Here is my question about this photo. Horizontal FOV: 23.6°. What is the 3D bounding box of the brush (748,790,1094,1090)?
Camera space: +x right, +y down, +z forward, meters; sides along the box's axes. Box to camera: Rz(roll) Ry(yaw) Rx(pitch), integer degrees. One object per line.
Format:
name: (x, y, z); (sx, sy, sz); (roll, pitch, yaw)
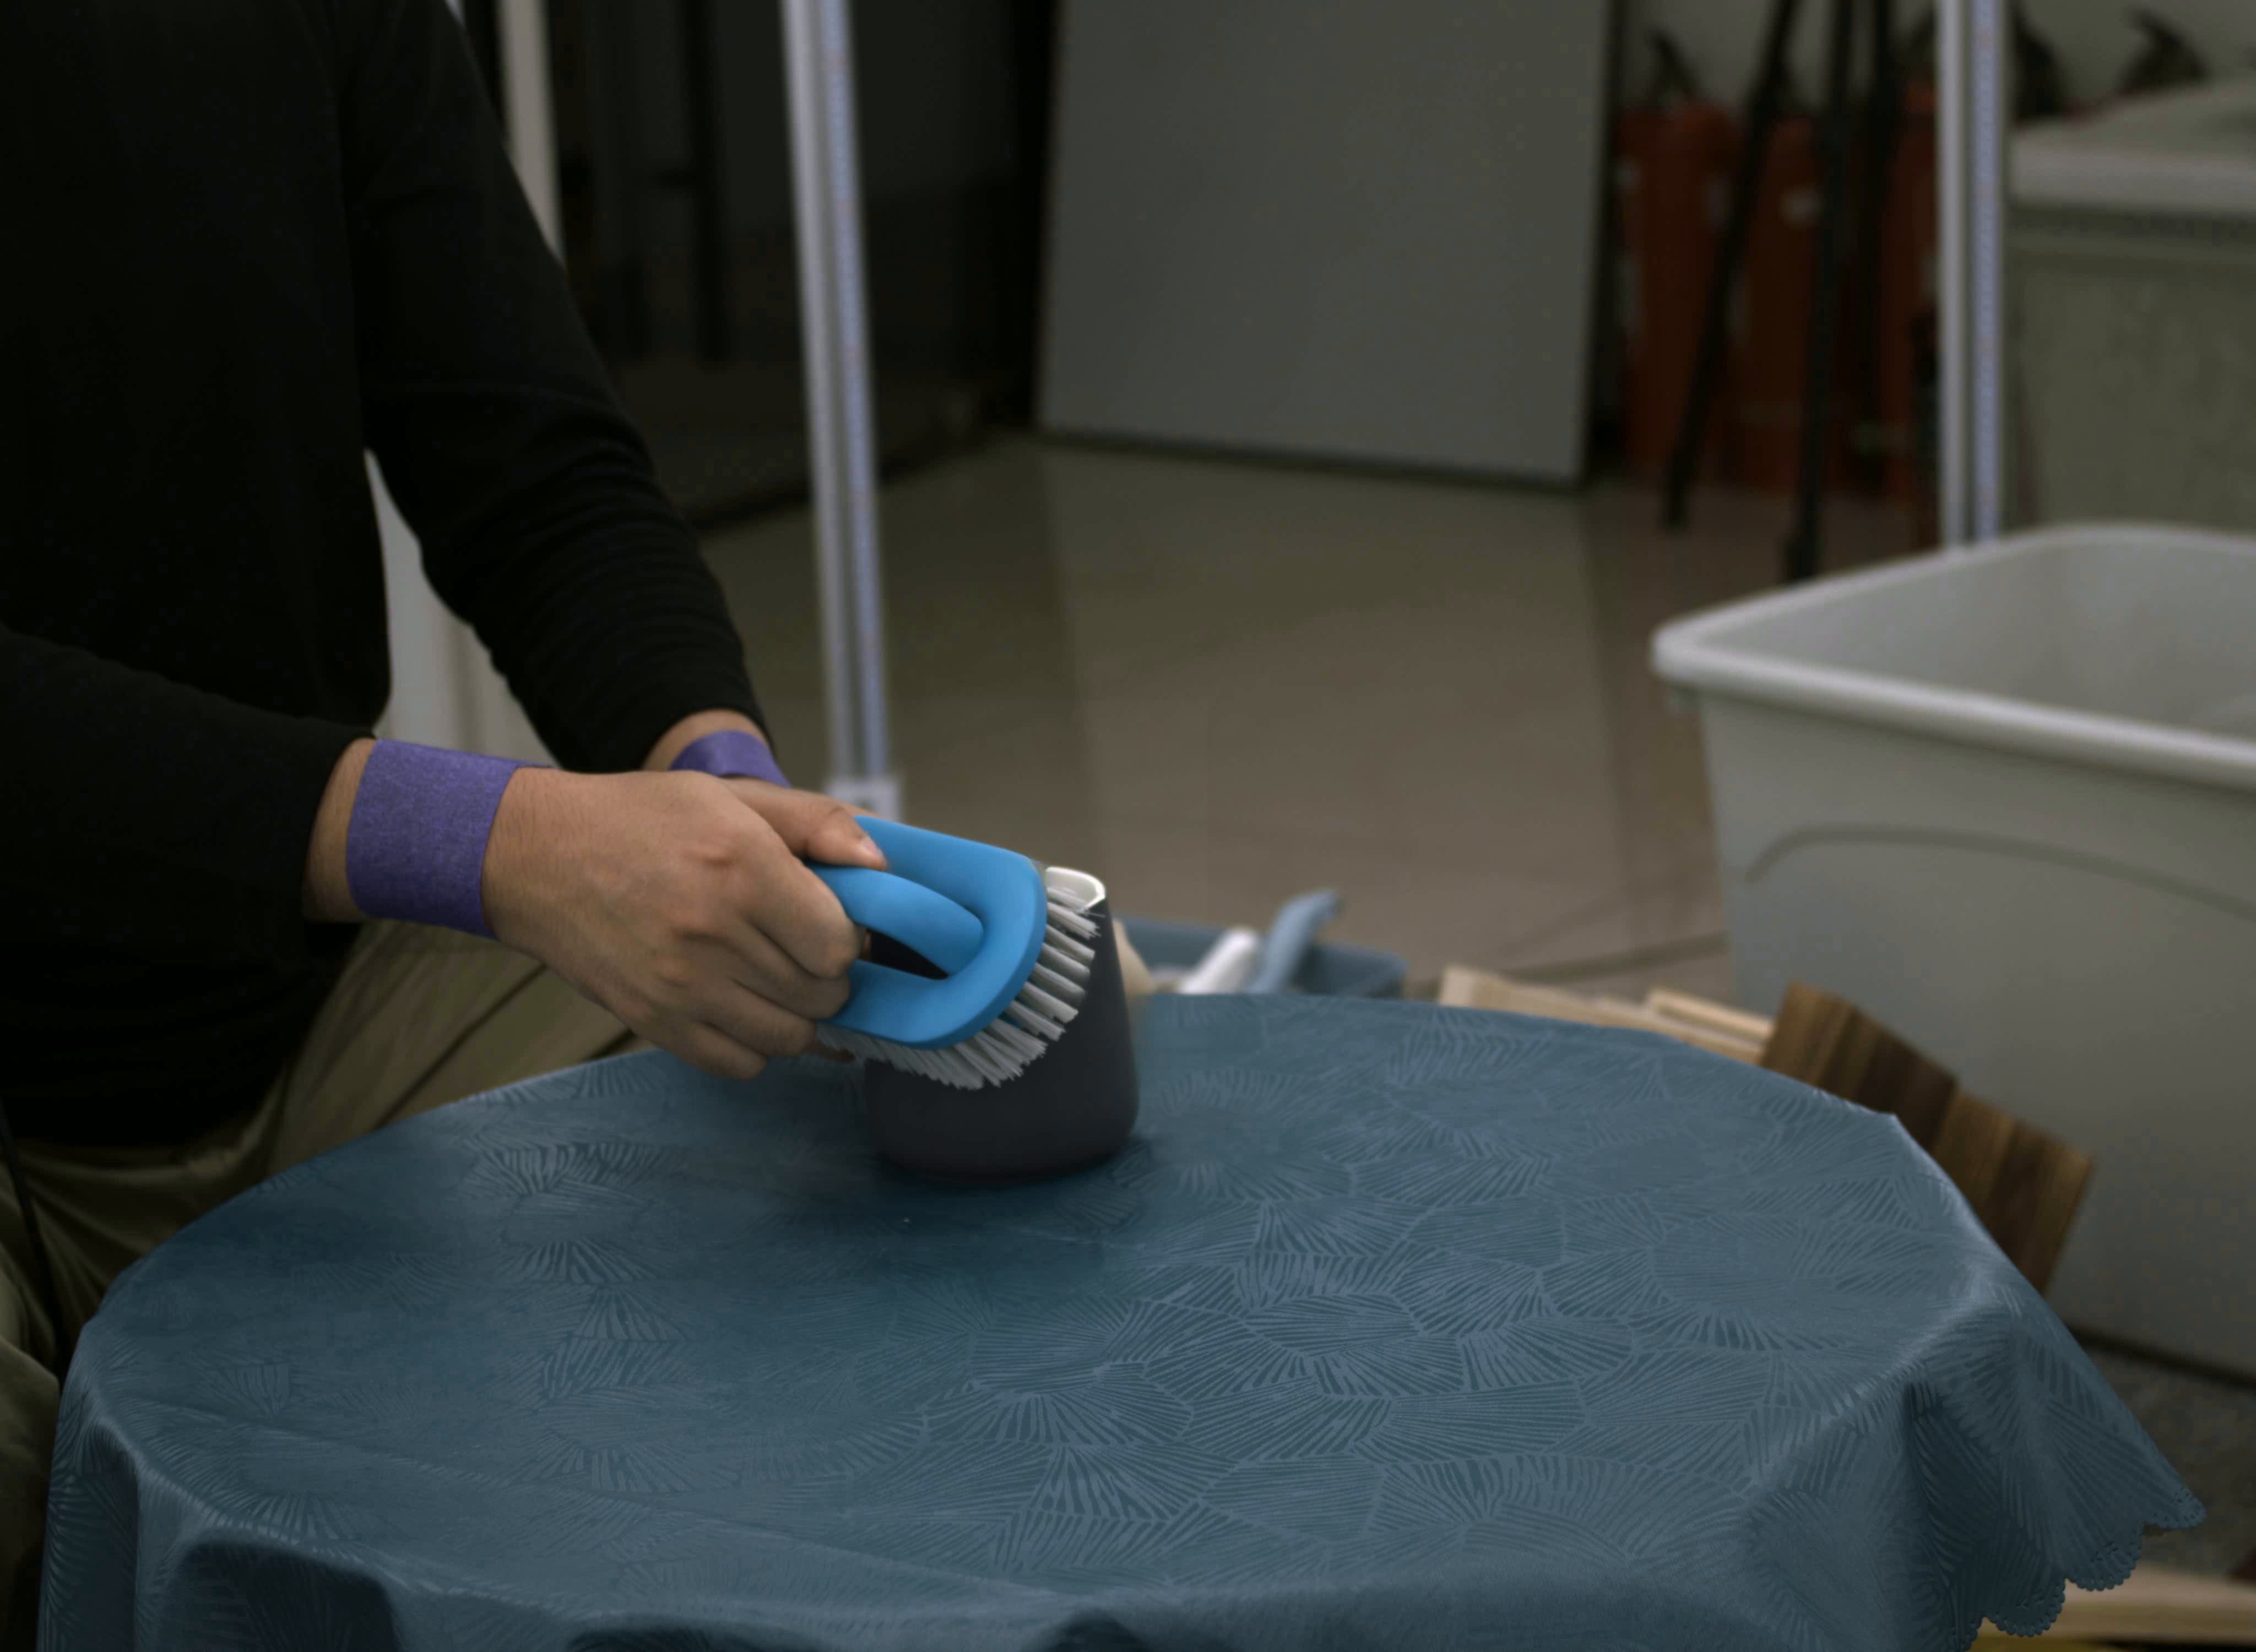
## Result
brush: (-0.079, 0.029, 1.765); (0.062, 0.085, 0.143); (33, -12, -39)

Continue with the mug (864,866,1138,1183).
mug: (-0.052, 0.063, 1.822); (0.091, 0.091, 0.124); (-12, 18, -35)
